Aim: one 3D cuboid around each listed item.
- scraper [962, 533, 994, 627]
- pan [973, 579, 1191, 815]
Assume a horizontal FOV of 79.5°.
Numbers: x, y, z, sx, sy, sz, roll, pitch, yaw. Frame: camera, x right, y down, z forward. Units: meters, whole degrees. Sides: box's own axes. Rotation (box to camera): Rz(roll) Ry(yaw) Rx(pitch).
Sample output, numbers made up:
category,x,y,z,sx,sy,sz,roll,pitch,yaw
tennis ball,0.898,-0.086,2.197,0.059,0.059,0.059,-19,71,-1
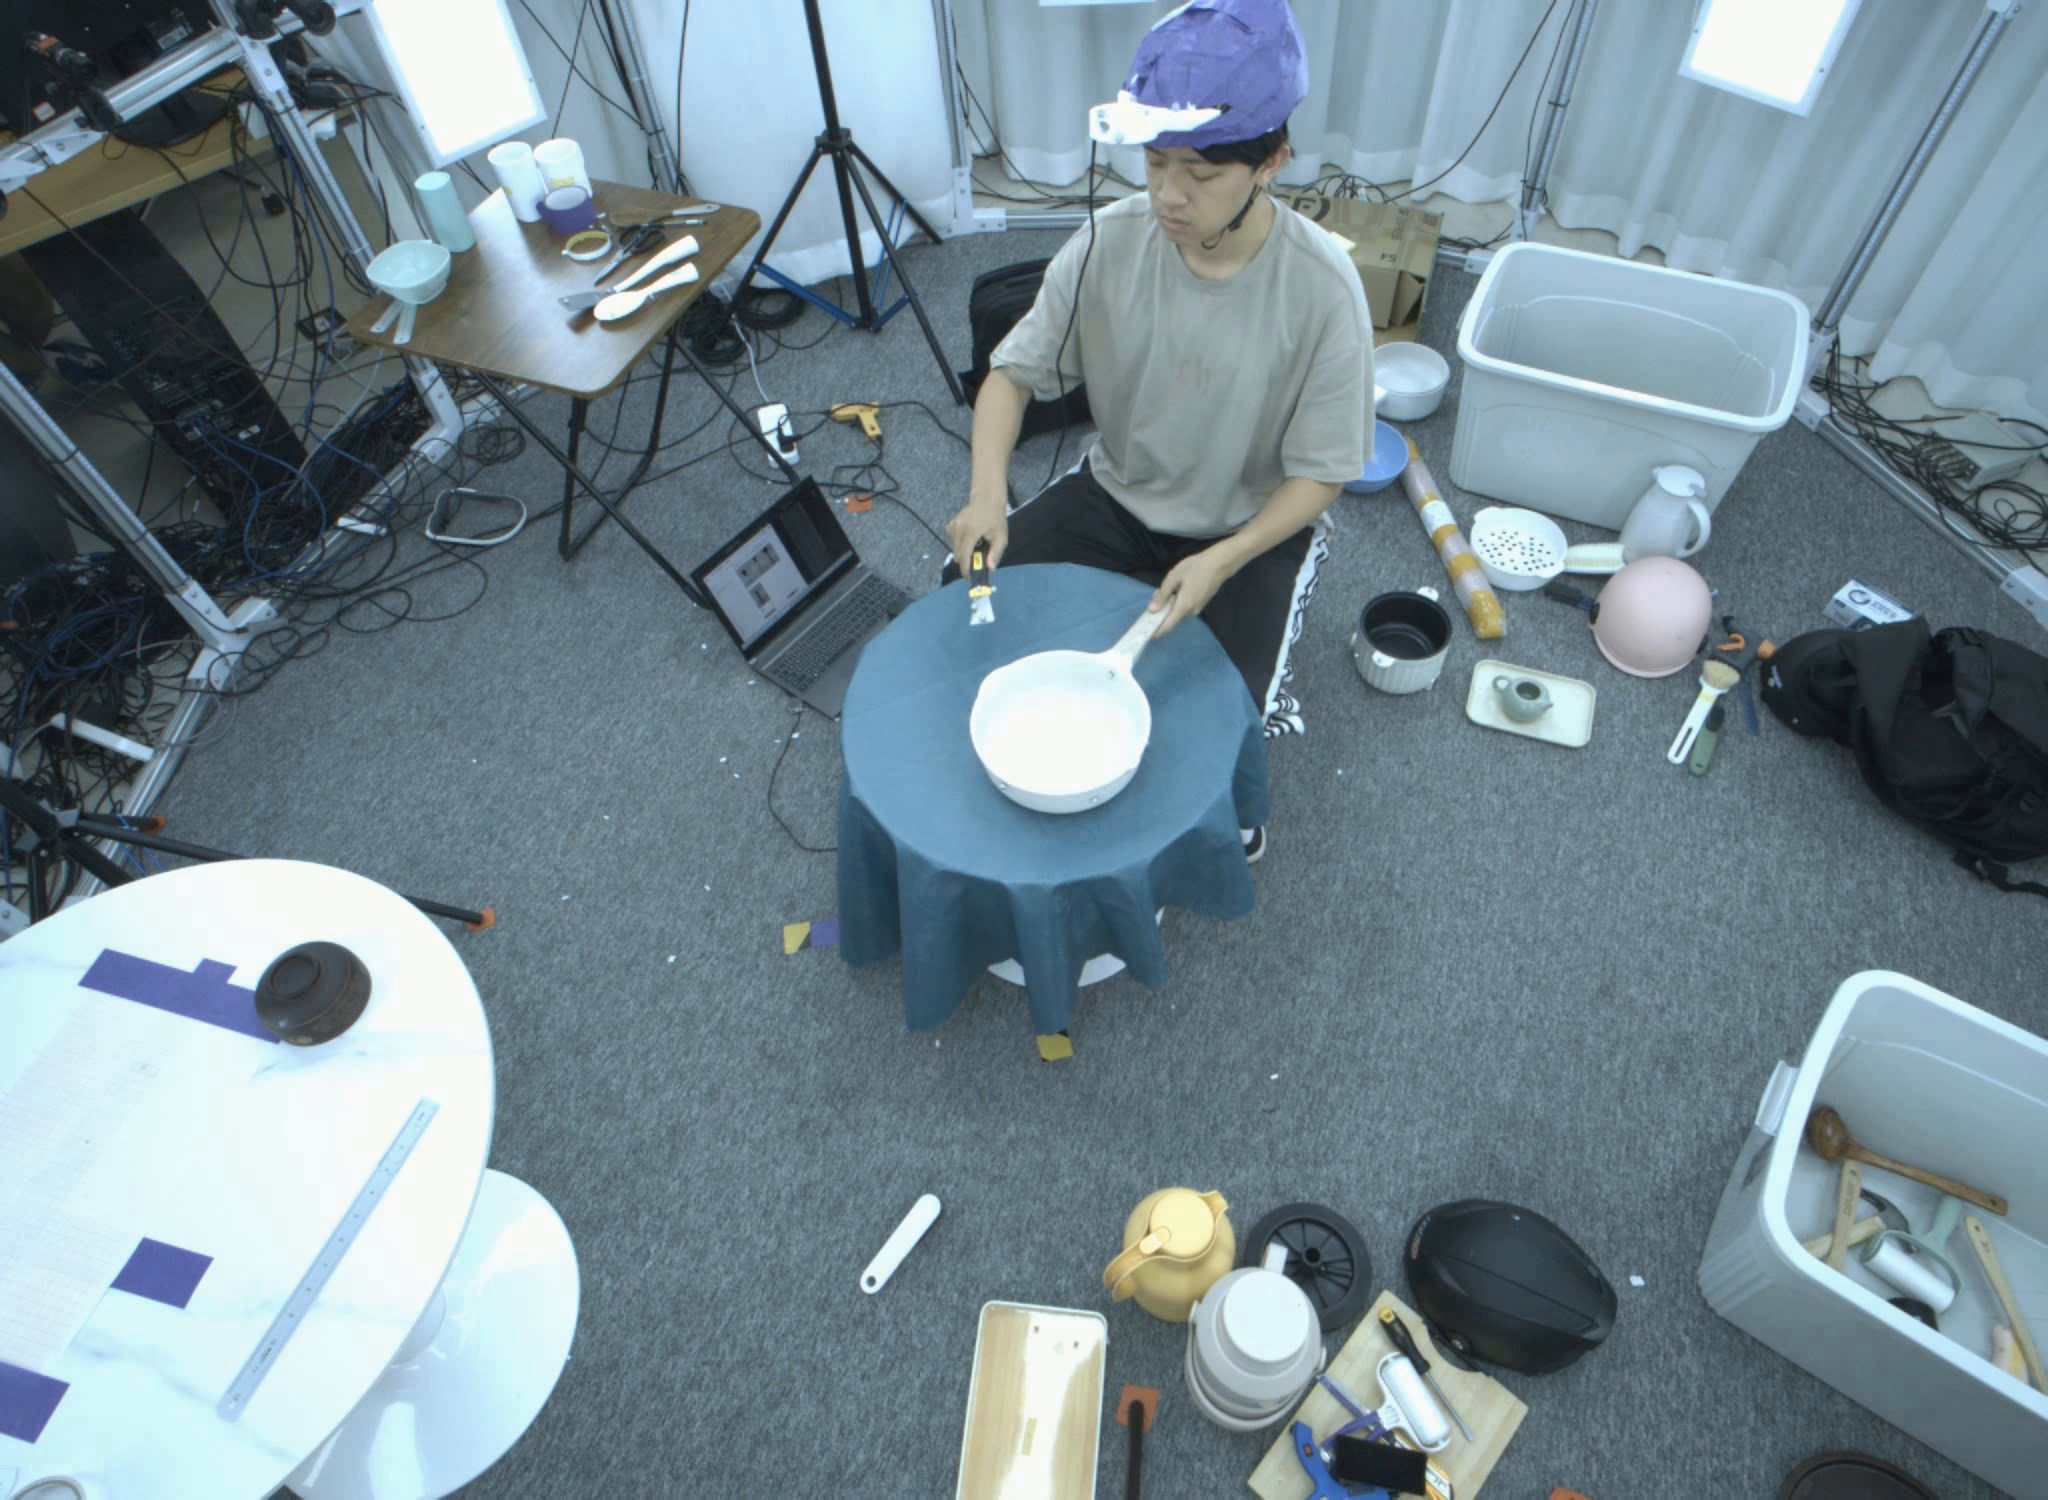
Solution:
category,x,y,z,sx,sy,sz,roll,pitch,yaw
scraper,-0.069,-0.247,1.761,0.038,0.015,0.169,-13,58,9
pan,0.114,-0.080,1.779,0.259,0.103,0.437,30,61,25
